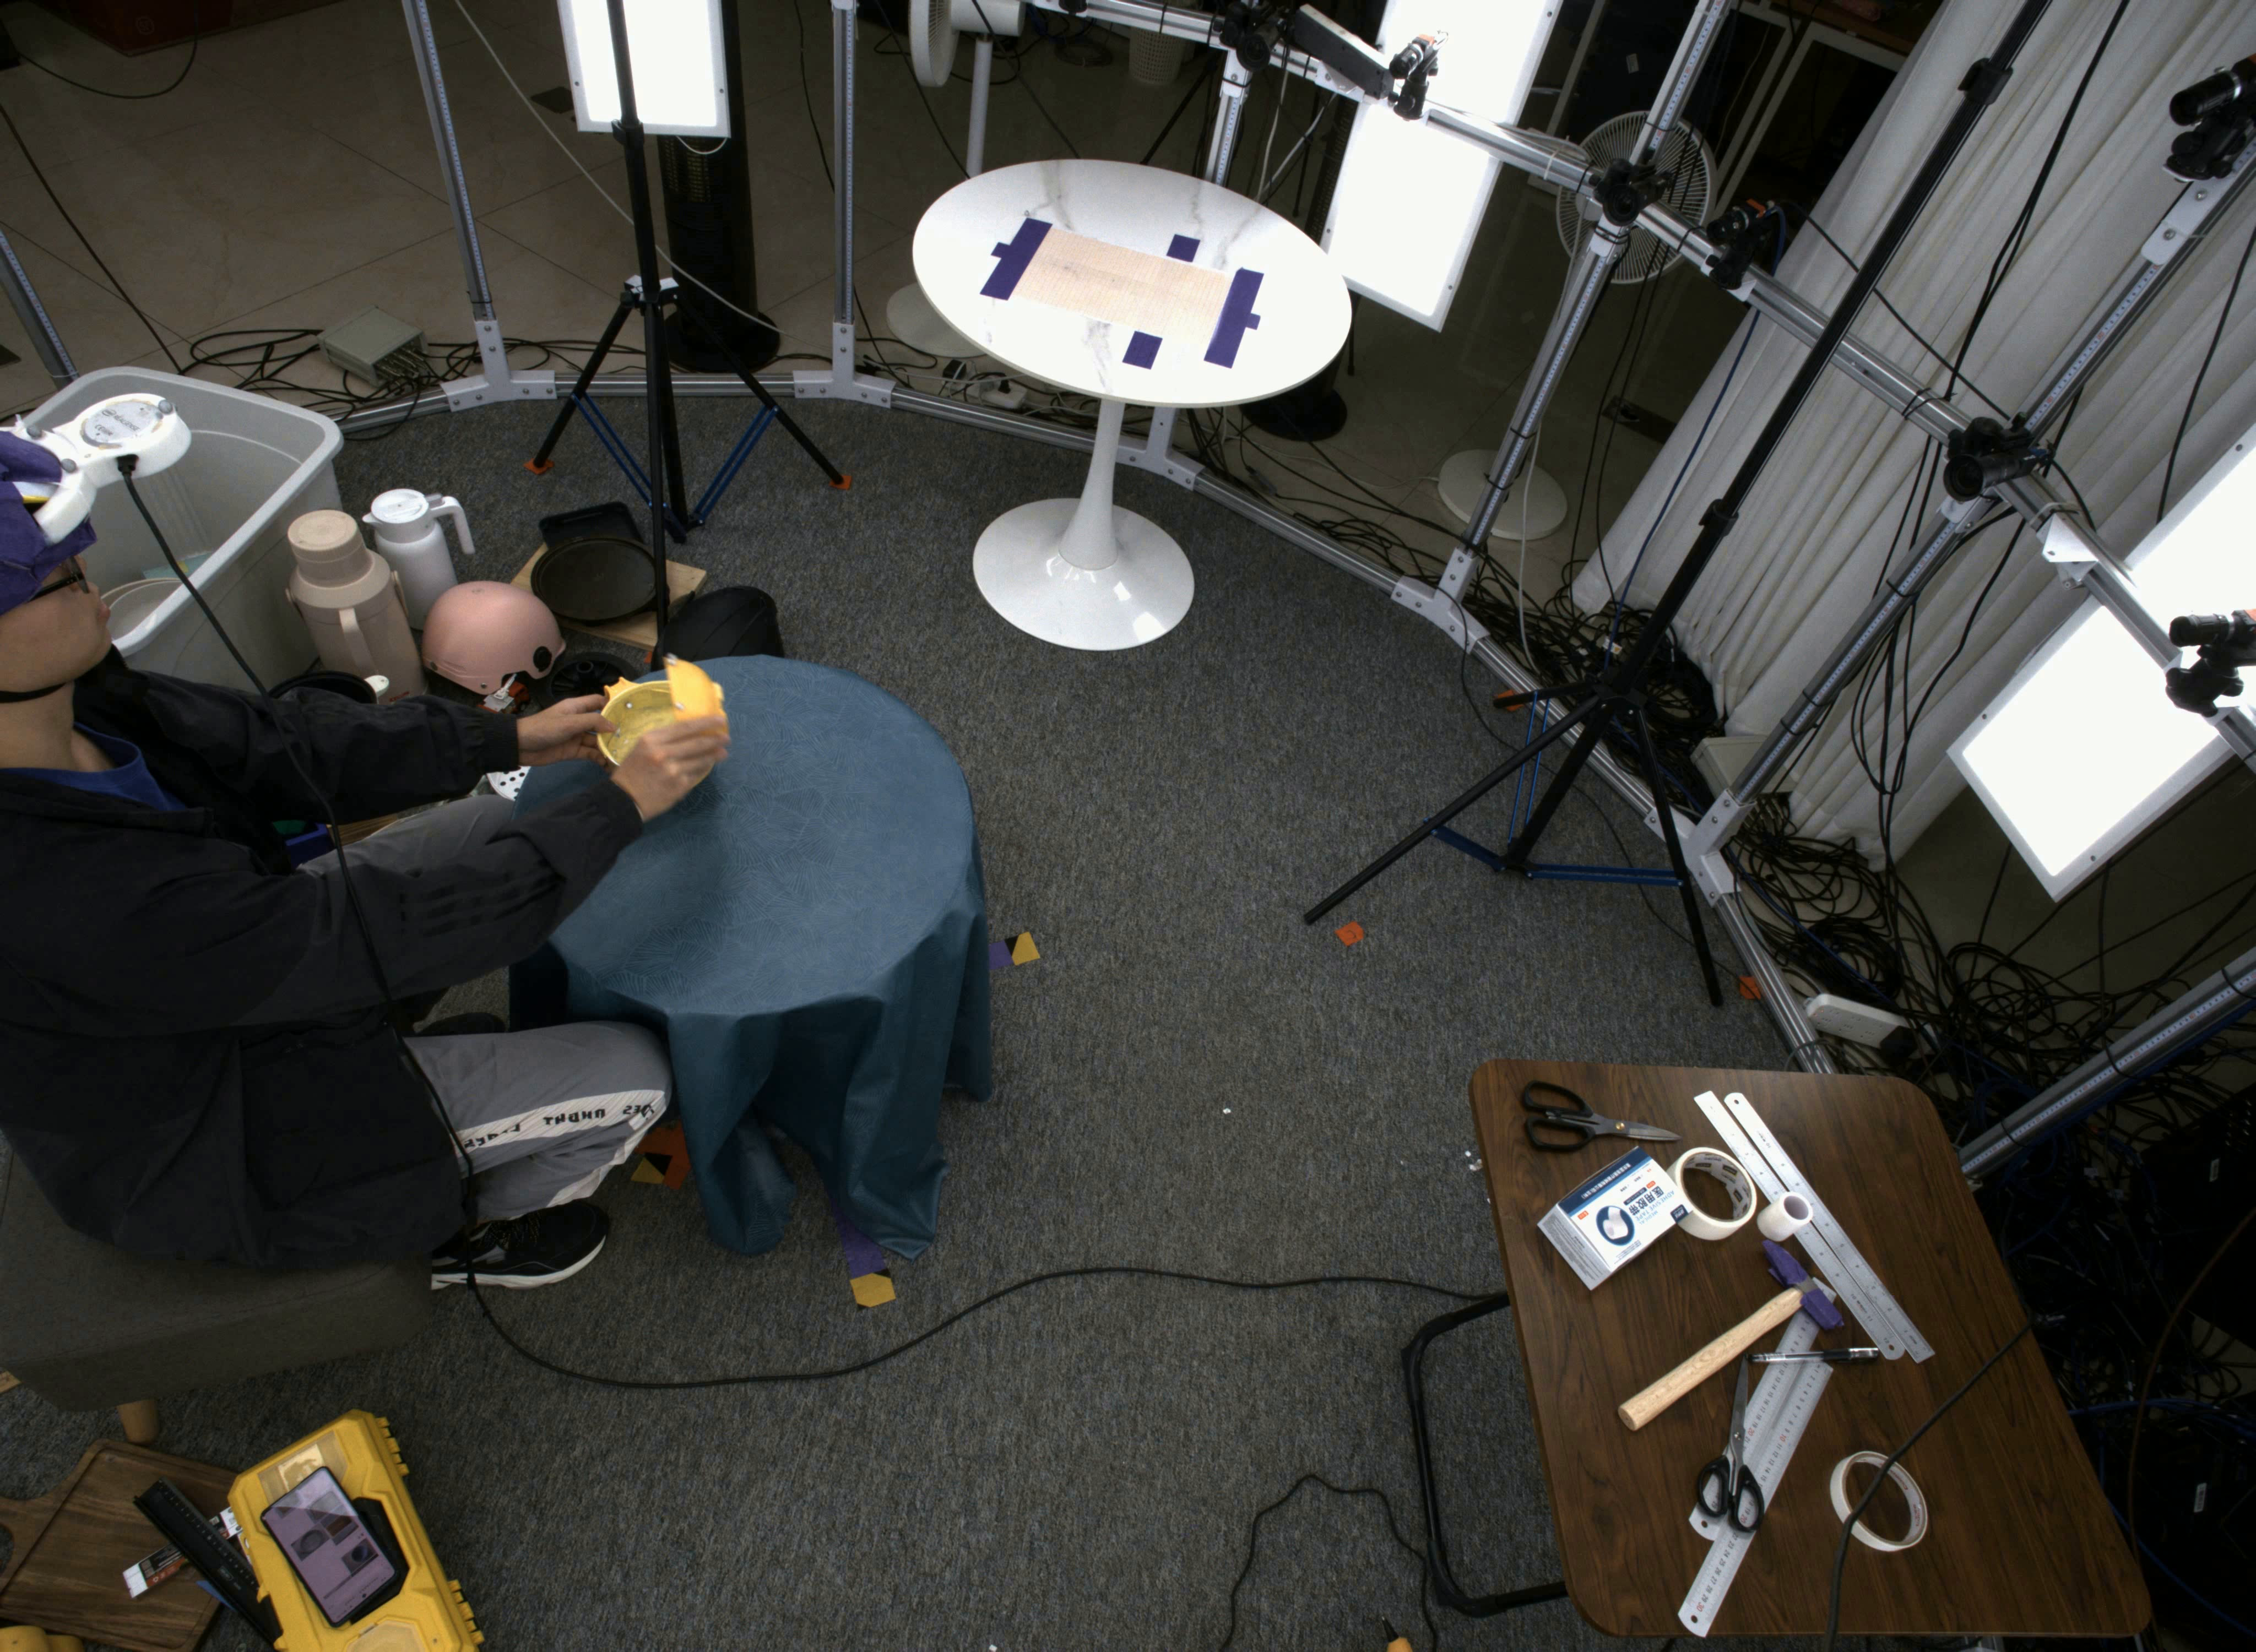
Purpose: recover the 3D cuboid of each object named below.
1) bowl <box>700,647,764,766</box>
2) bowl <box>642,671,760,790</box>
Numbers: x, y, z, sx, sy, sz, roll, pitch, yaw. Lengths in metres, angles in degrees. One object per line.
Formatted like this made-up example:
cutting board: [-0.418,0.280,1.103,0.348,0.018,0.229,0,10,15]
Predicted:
bowl: [-0.485,-0.152,1.590,0.060,0.149,0.142,-12,56,-15]
bowl: [-0.571,-0.129,1.704,0.177,0.075,0.153,43,59,11]
